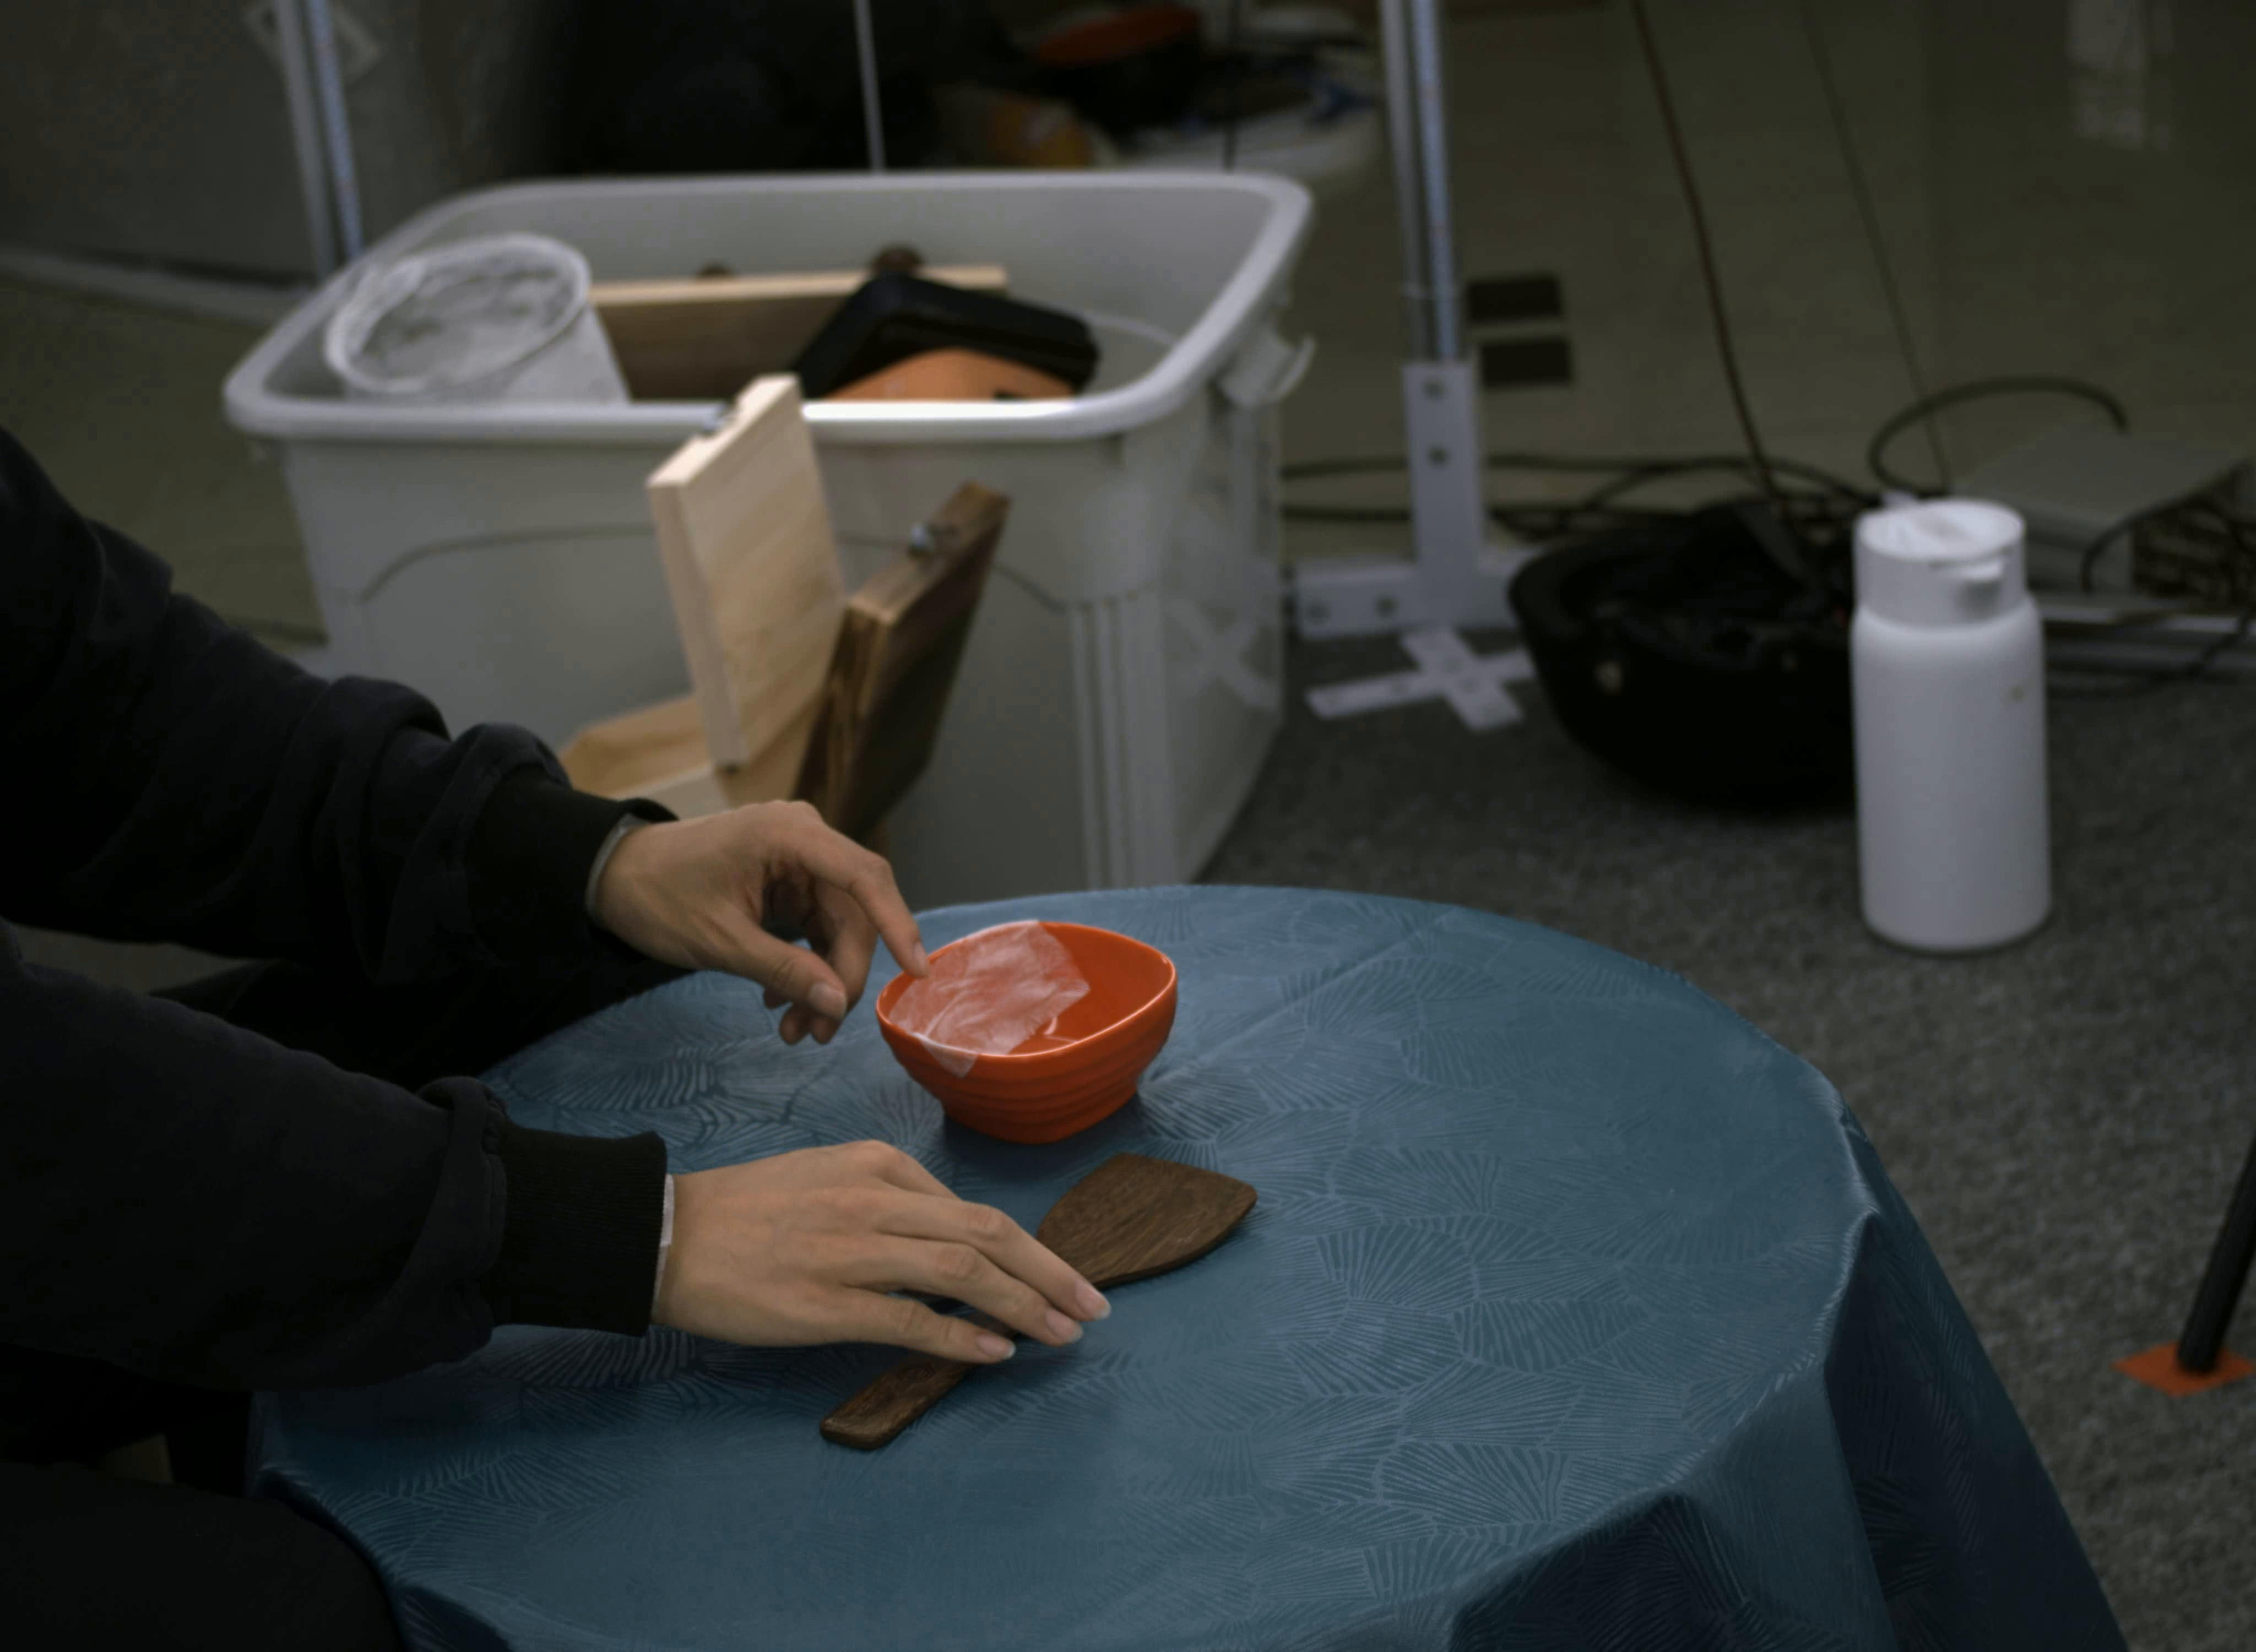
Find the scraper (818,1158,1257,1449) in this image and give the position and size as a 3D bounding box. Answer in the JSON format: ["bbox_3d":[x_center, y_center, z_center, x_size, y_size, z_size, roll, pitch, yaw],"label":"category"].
[{"bbox_3d":[-0.039,0.175,2.075,0.075,0.011,0.209,12,31,37],"label":"scraper"}]

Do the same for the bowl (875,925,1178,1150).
[{"bbox_3d":[-0.037,0.087,2.216,0.119,0.052,0.117,-5,26,2],"label":"bowl"}]
